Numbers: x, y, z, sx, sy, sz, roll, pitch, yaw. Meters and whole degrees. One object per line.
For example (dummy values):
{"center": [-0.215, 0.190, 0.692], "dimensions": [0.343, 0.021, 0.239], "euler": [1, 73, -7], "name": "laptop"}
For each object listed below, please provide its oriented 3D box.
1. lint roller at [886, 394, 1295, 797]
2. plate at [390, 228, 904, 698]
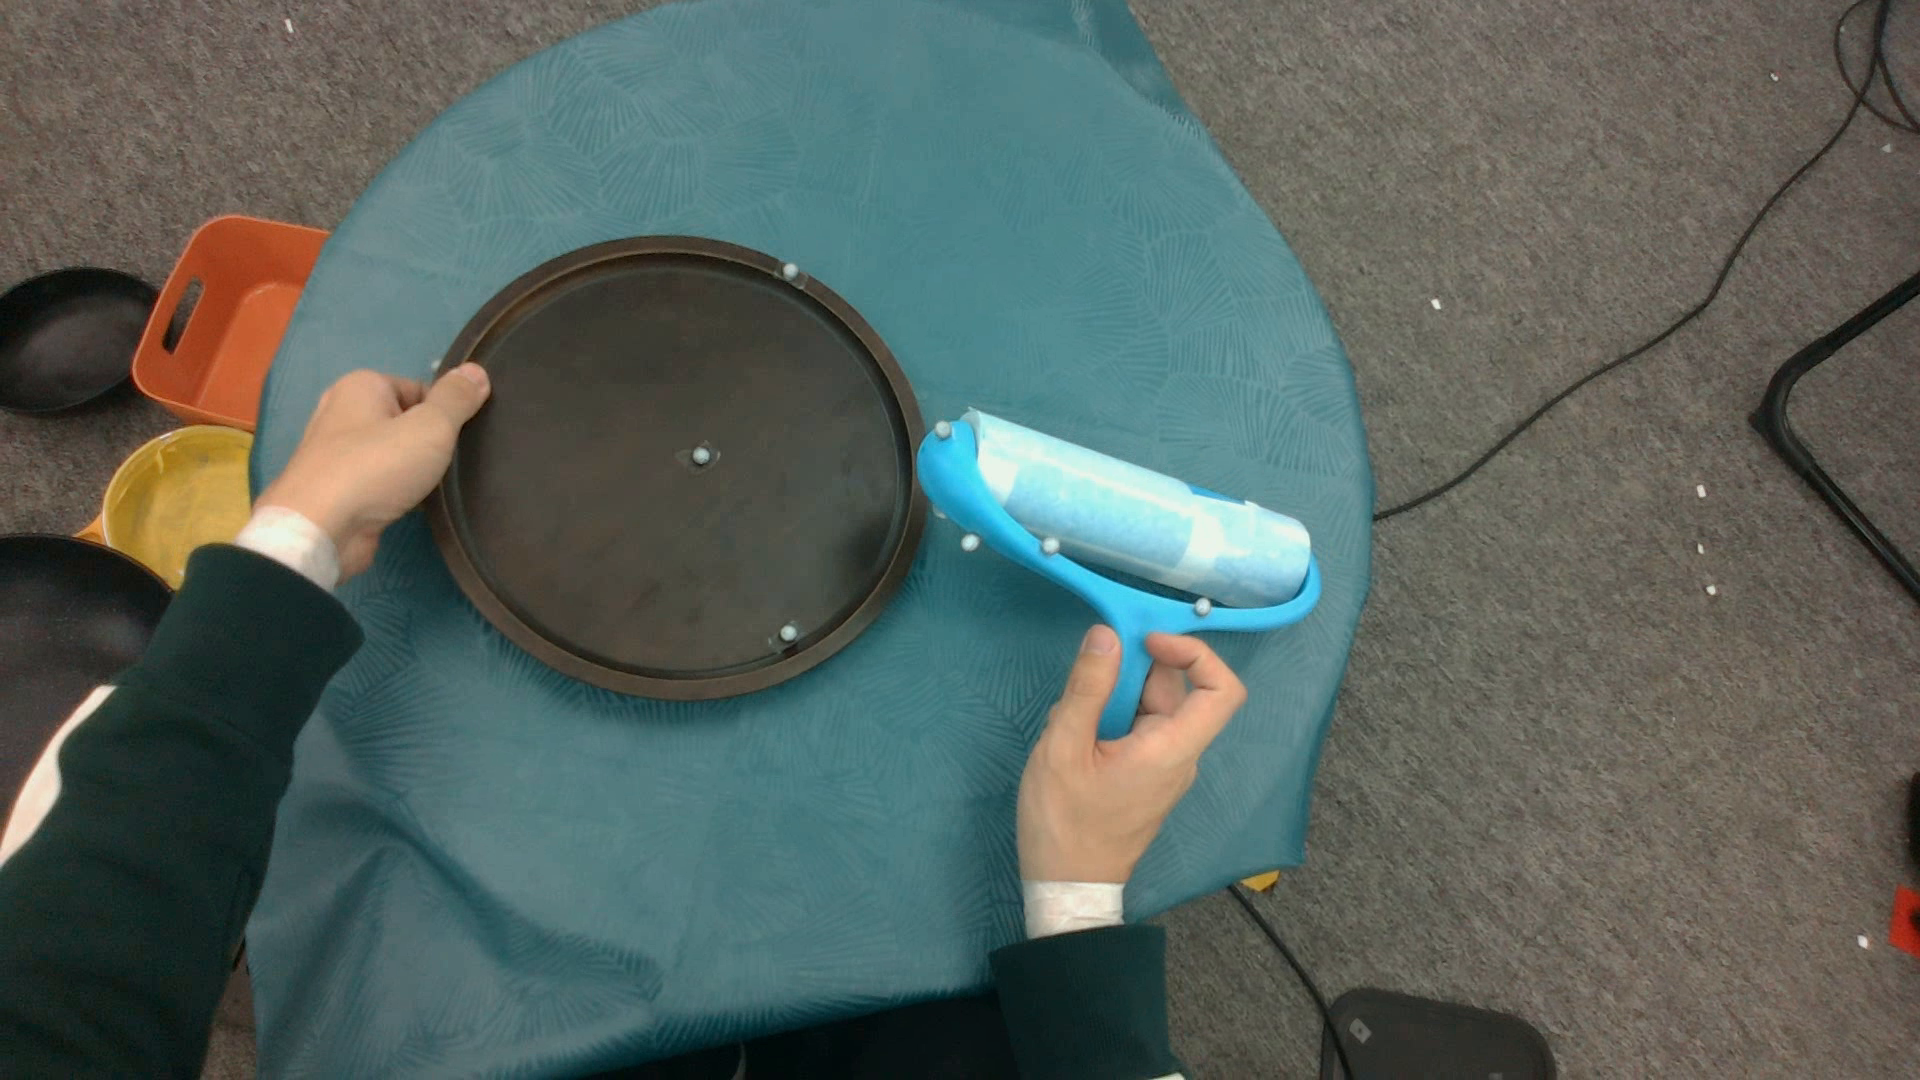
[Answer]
{"center": [0.065, 0.034, 0.673], "dimensions": [0.229, 0.067, 0.180], "euler": [12, 73, -26], "name": "lint roller"}
{"center": [-0.153, -0.043, 0.701], "dimensions": [0.255, 0.029, 0.255], "euler": [6, 69, -15], "name": "plate"}
